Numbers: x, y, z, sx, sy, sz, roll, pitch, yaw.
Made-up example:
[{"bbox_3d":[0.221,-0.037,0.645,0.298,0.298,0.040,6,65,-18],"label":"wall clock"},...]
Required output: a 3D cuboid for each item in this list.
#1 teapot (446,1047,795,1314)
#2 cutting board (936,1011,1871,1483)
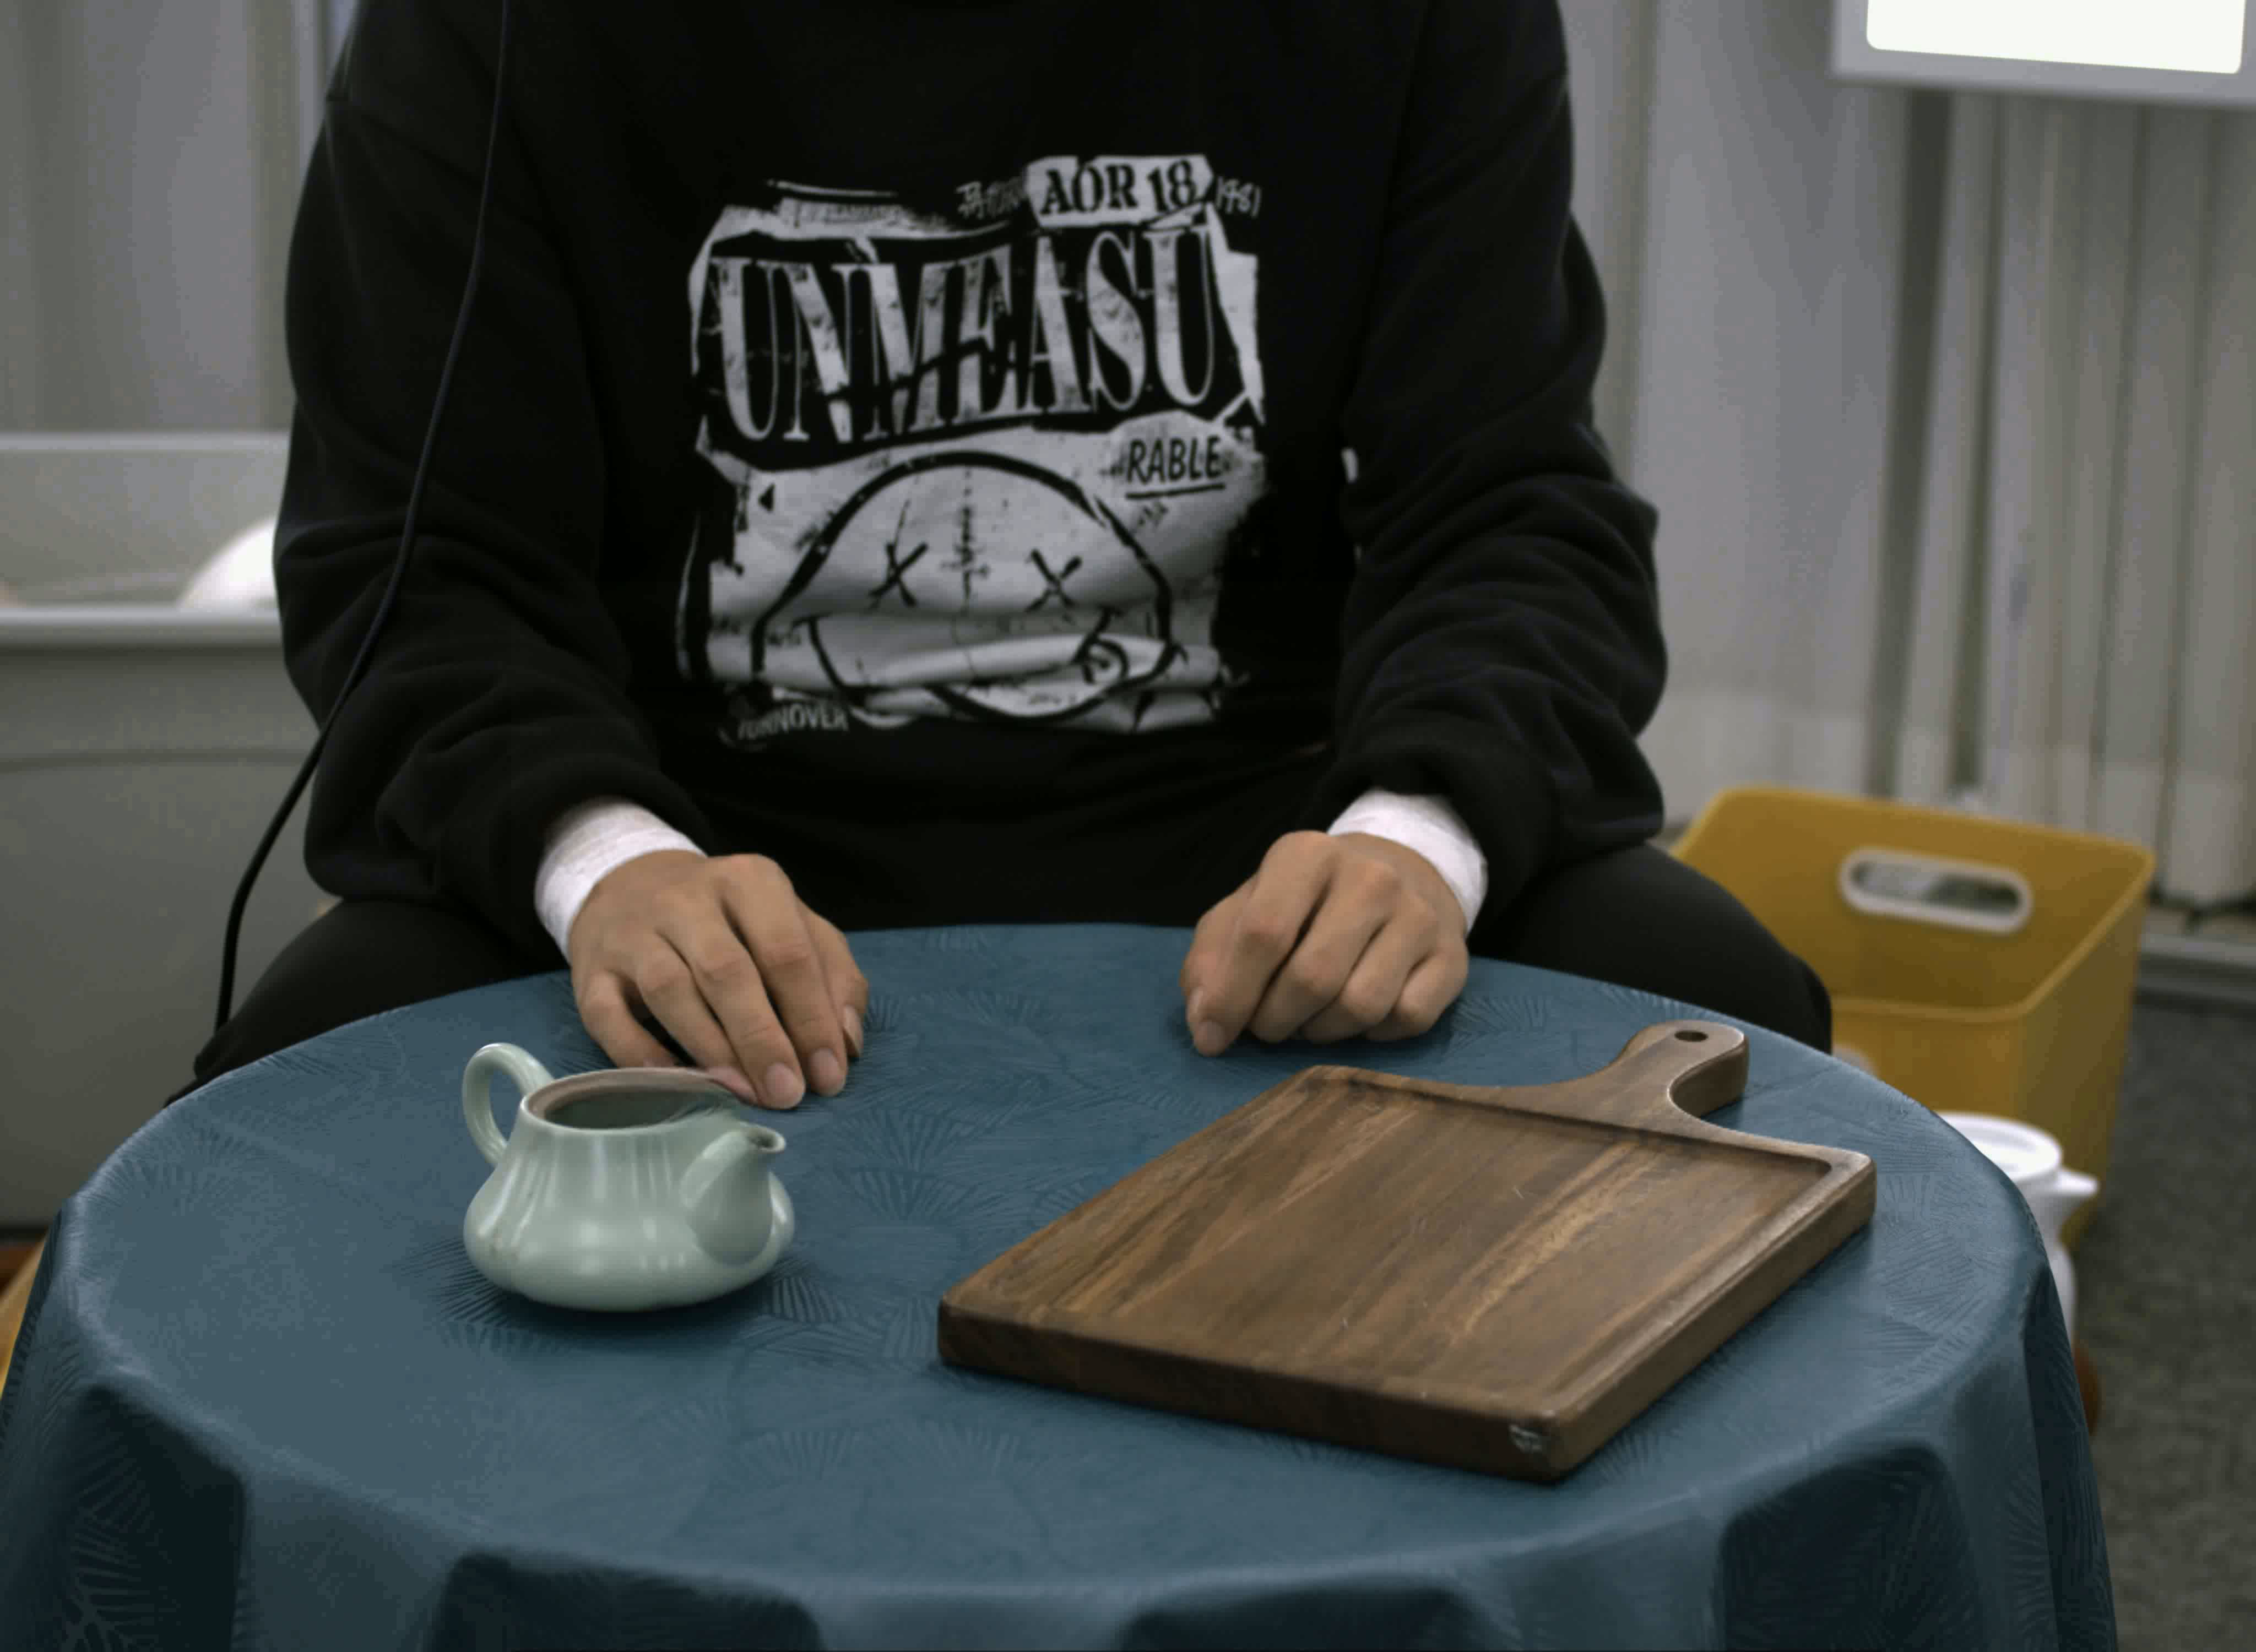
[{"bbox_3d":[-0.149,0.104,1.535,0.135,0.062,0.096,14,22,38],"label":"teapot"},{"bbox_3d":[0.108,0.113,1.583,0.199,0.023,0.353,8,18,25],"label":"cutting board"}]
